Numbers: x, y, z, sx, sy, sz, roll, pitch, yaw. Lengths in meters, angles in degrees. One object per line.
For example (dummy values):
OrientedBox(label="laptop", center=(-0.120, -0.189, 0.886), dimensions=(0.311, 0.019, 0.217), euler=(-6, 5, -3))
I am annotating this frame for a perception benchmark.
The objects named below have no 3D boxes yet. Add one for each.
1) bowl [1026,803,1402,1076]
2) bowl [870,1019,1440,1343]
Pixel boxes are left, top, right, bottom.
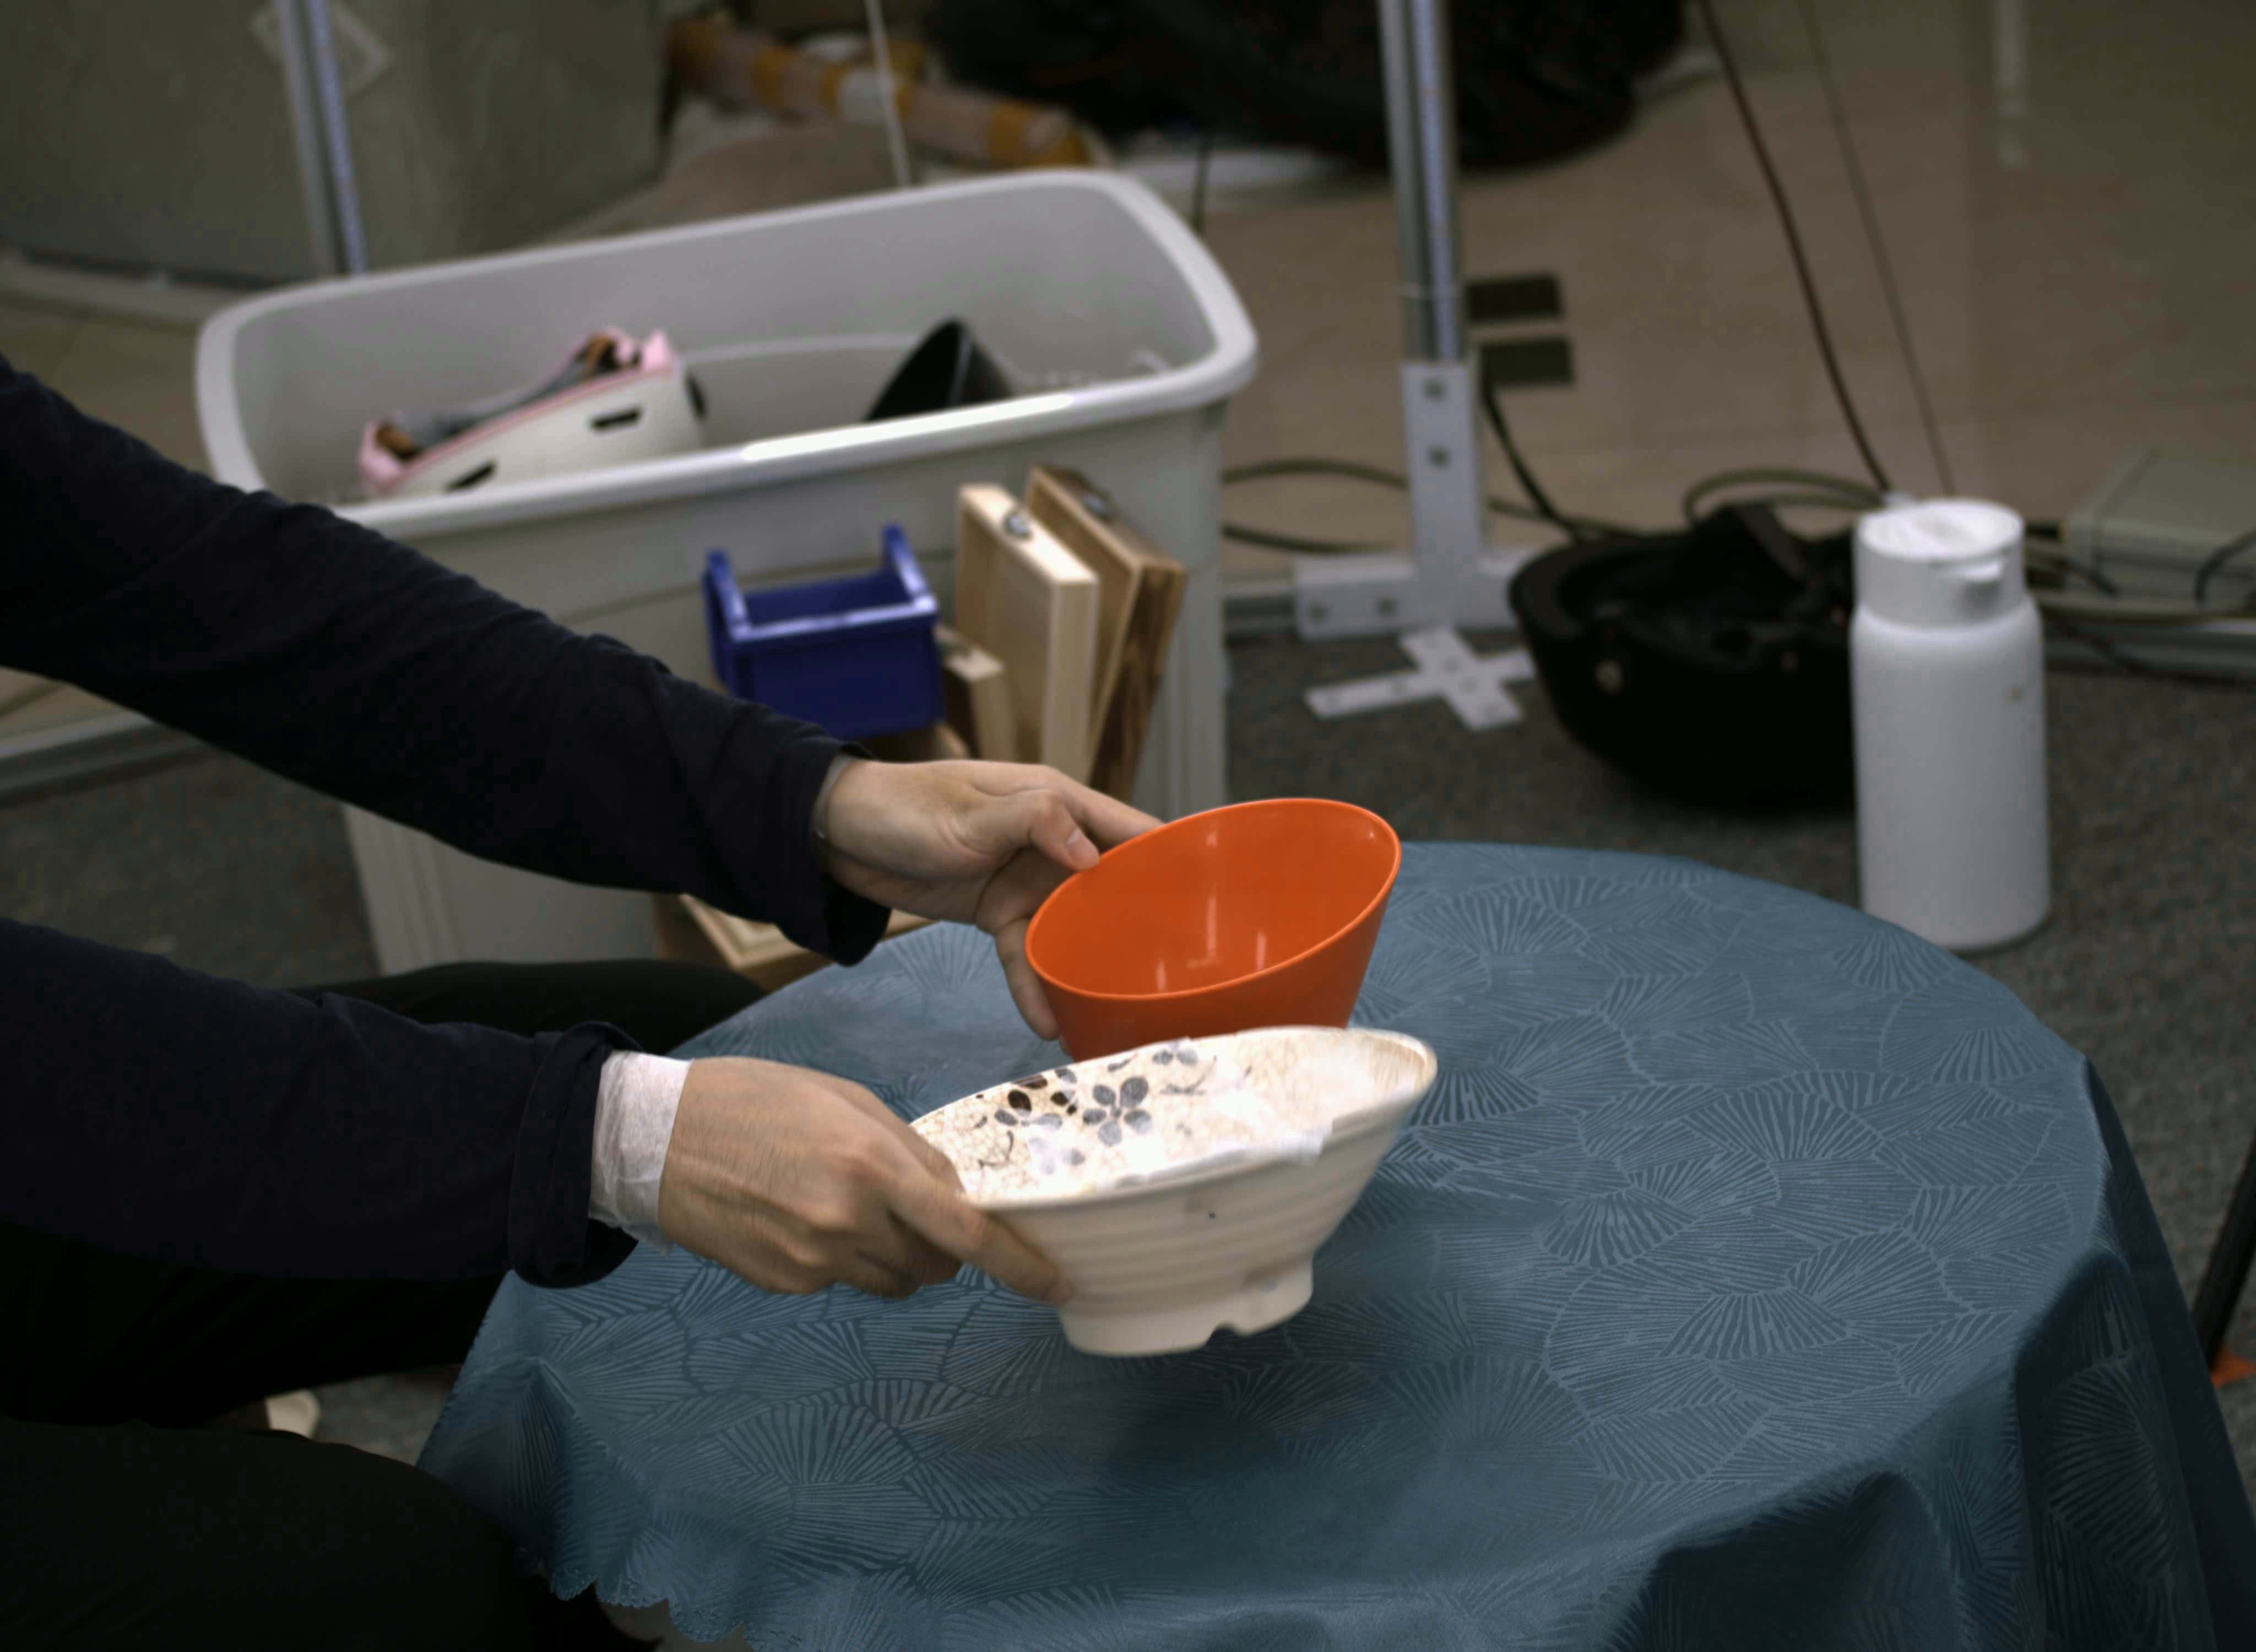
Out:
OrientedBox(label="bowl", center=(0.038, 0.065, 2.182), dimensions=(0.148, 0.106, 0.146), euler=(-7, 25, 3))
OrientedBox(label="bowl", center=(0.017, 0.131, 1.981), dimensions=(0.204, 0.078, 0.203), euler=(-12, 8, 2))
